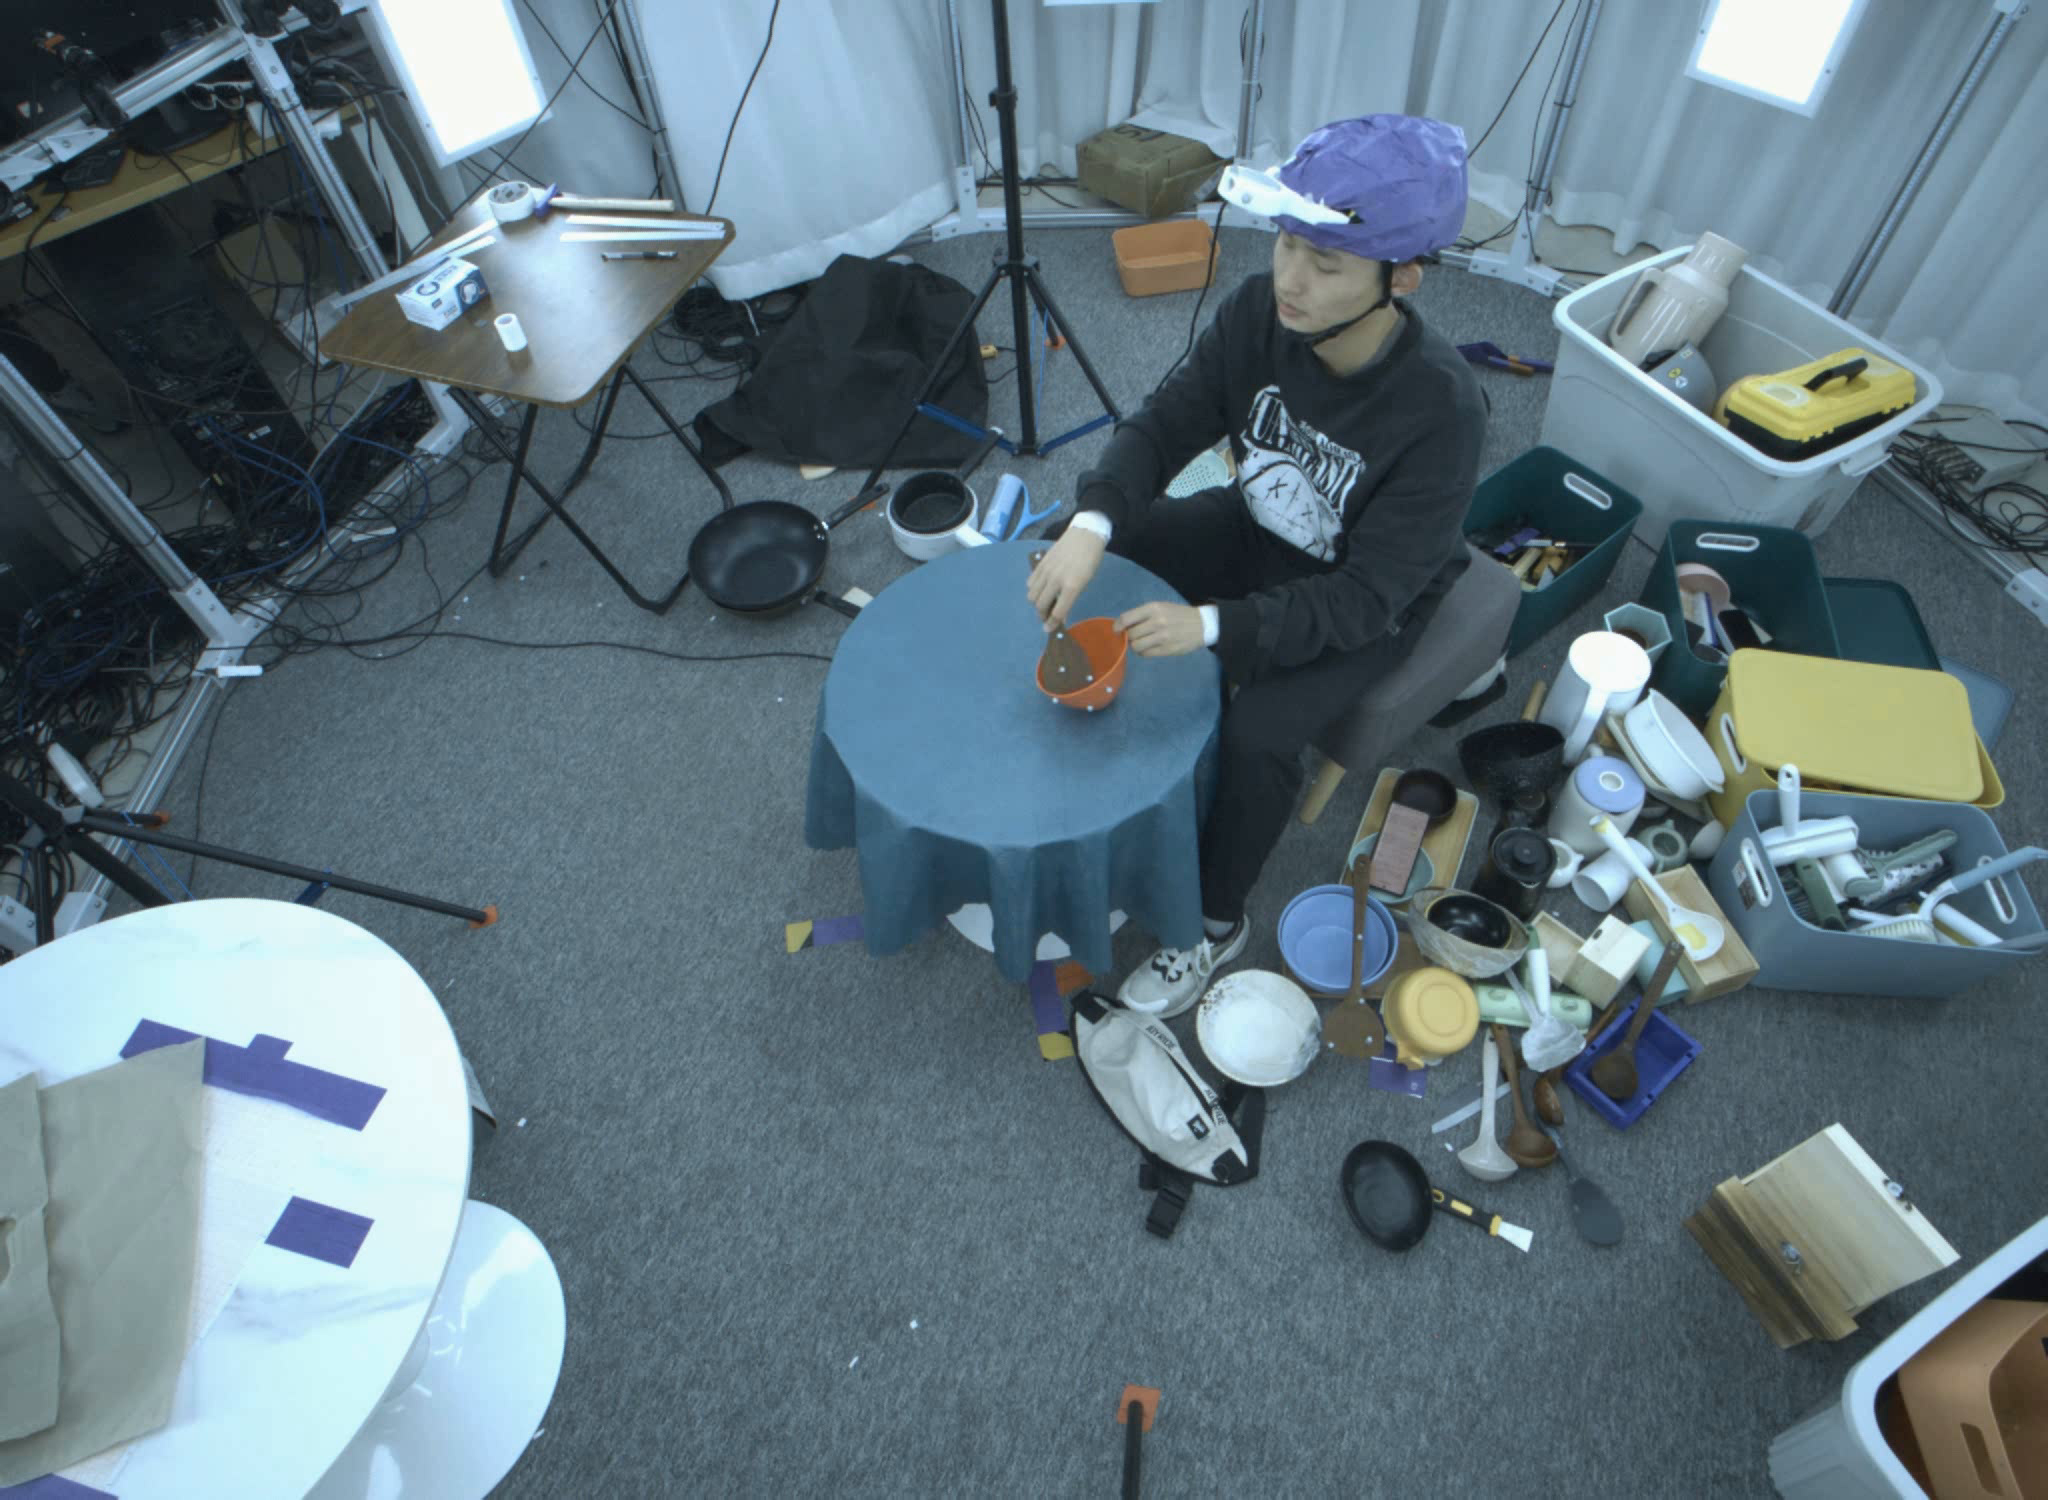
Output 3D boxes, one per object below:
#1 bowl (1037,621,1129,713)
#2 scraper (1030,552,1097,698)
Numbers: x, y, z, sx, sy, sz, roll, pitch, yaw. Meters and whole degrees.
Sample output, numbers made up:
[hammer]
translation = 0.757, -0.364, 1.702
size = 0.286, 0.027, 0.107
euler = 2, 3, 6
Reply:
[bowl]
translation = 0.099, -0.106, 1.794
size = 0.146, 0.107, 0.146
euler = -12, 54, 18
[scraper]
translation = 0.046, -0.181, 1.772
size = 0.076, 0.011, 0.211
euler = -15, 94, -10
